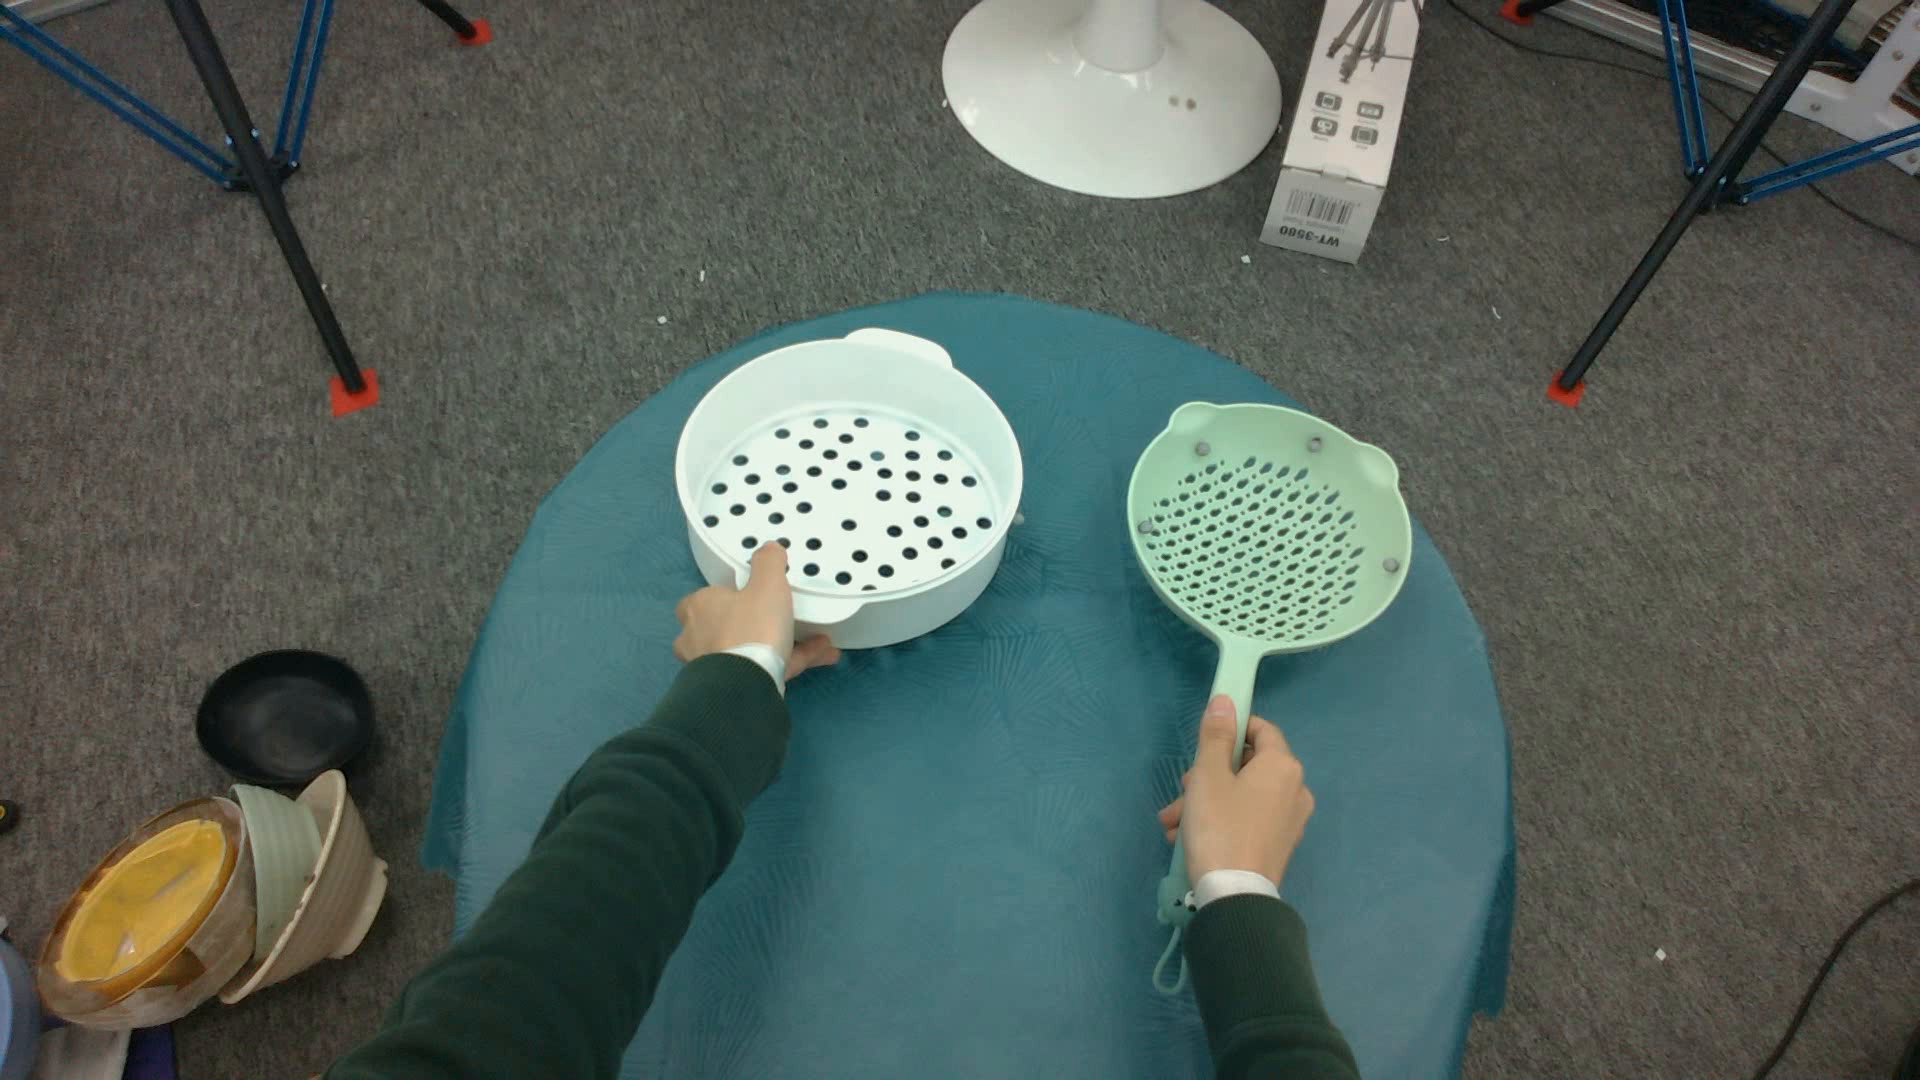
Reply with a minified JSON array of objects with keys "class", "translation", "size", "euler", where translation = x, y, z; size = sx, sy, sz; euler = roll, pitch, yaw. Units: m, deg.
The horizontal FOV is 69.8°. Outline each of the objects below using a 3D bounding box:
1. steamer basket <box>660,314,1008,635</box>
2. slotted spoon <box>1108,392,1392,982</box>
[{"class":"steamer basket","translation":[-0.075,-0.036,0.825],"size":[0.202,0.069,0.232],"euler":[13,52,4]},{"class":"slotted spoon","translation":[0.145,0.067,0.774],"size":[0.169,0.075,0.360],"euler":[14,51,7]}]
